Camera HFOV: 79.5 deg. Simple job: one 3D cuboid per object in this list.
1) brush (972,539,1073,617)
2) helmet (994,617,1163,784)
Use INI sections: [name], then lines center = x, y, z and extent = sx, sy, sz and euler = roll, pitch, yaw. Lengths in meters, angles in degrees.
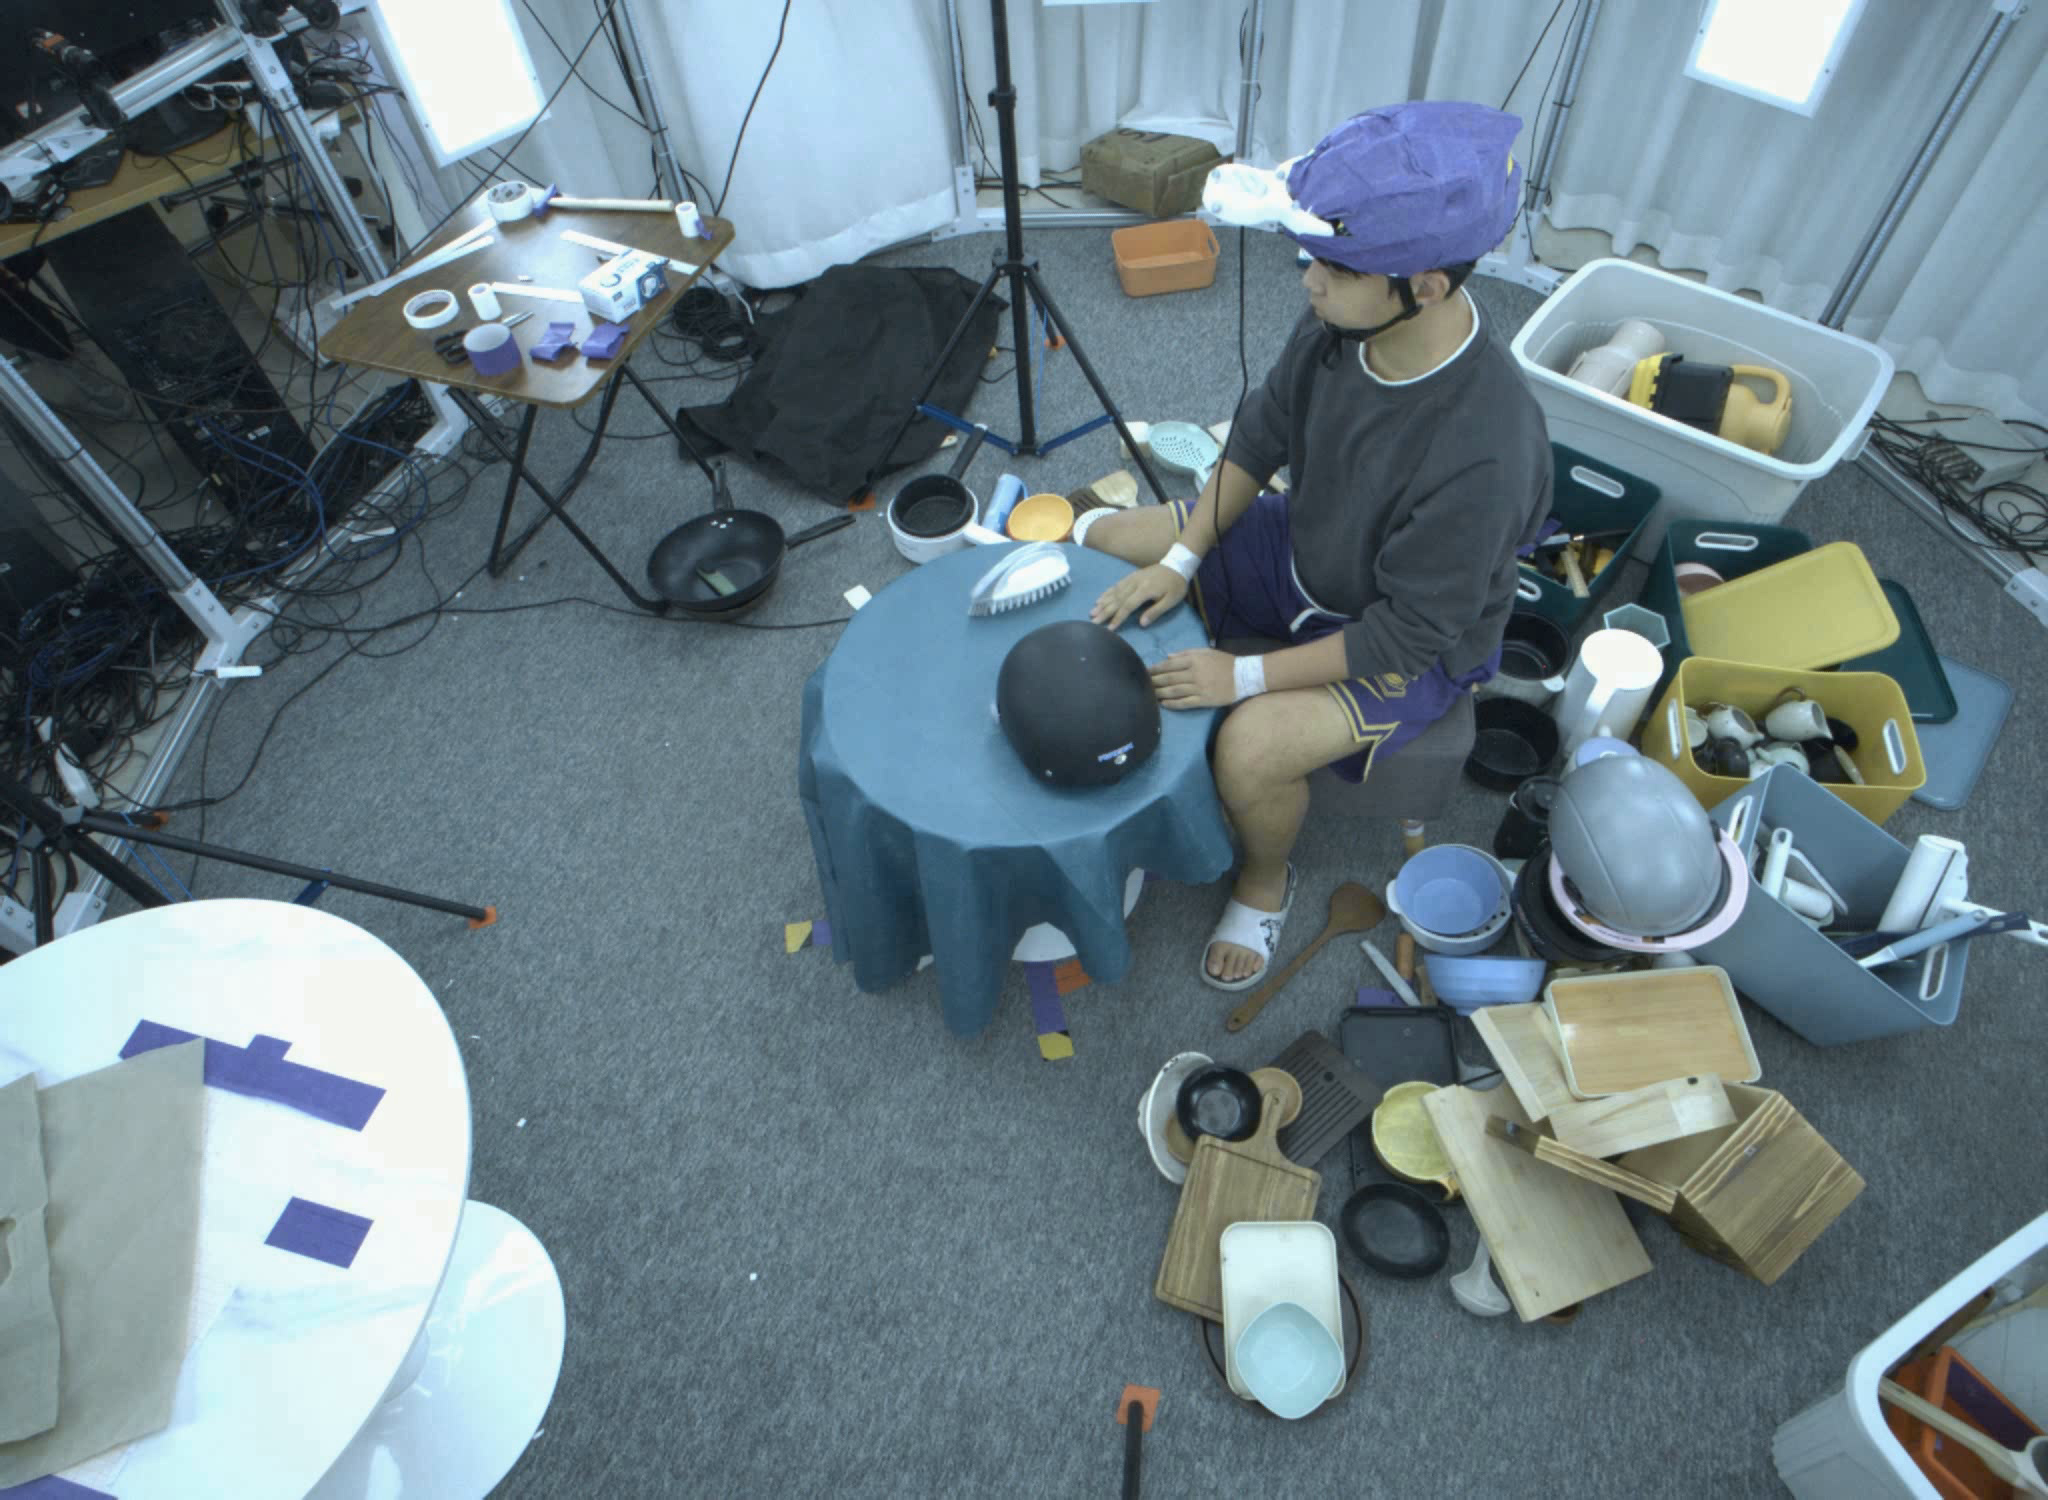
[brush]
center = -0.010, -0.274, 1.929
extent = 0.177, 0.095, 0.060
euler = -27, 56, -14
[helmet]
center = 0.074, -0.091, 1.754
extent = 0.232, 0.168, 0.268
euler = -19, 54, -12
